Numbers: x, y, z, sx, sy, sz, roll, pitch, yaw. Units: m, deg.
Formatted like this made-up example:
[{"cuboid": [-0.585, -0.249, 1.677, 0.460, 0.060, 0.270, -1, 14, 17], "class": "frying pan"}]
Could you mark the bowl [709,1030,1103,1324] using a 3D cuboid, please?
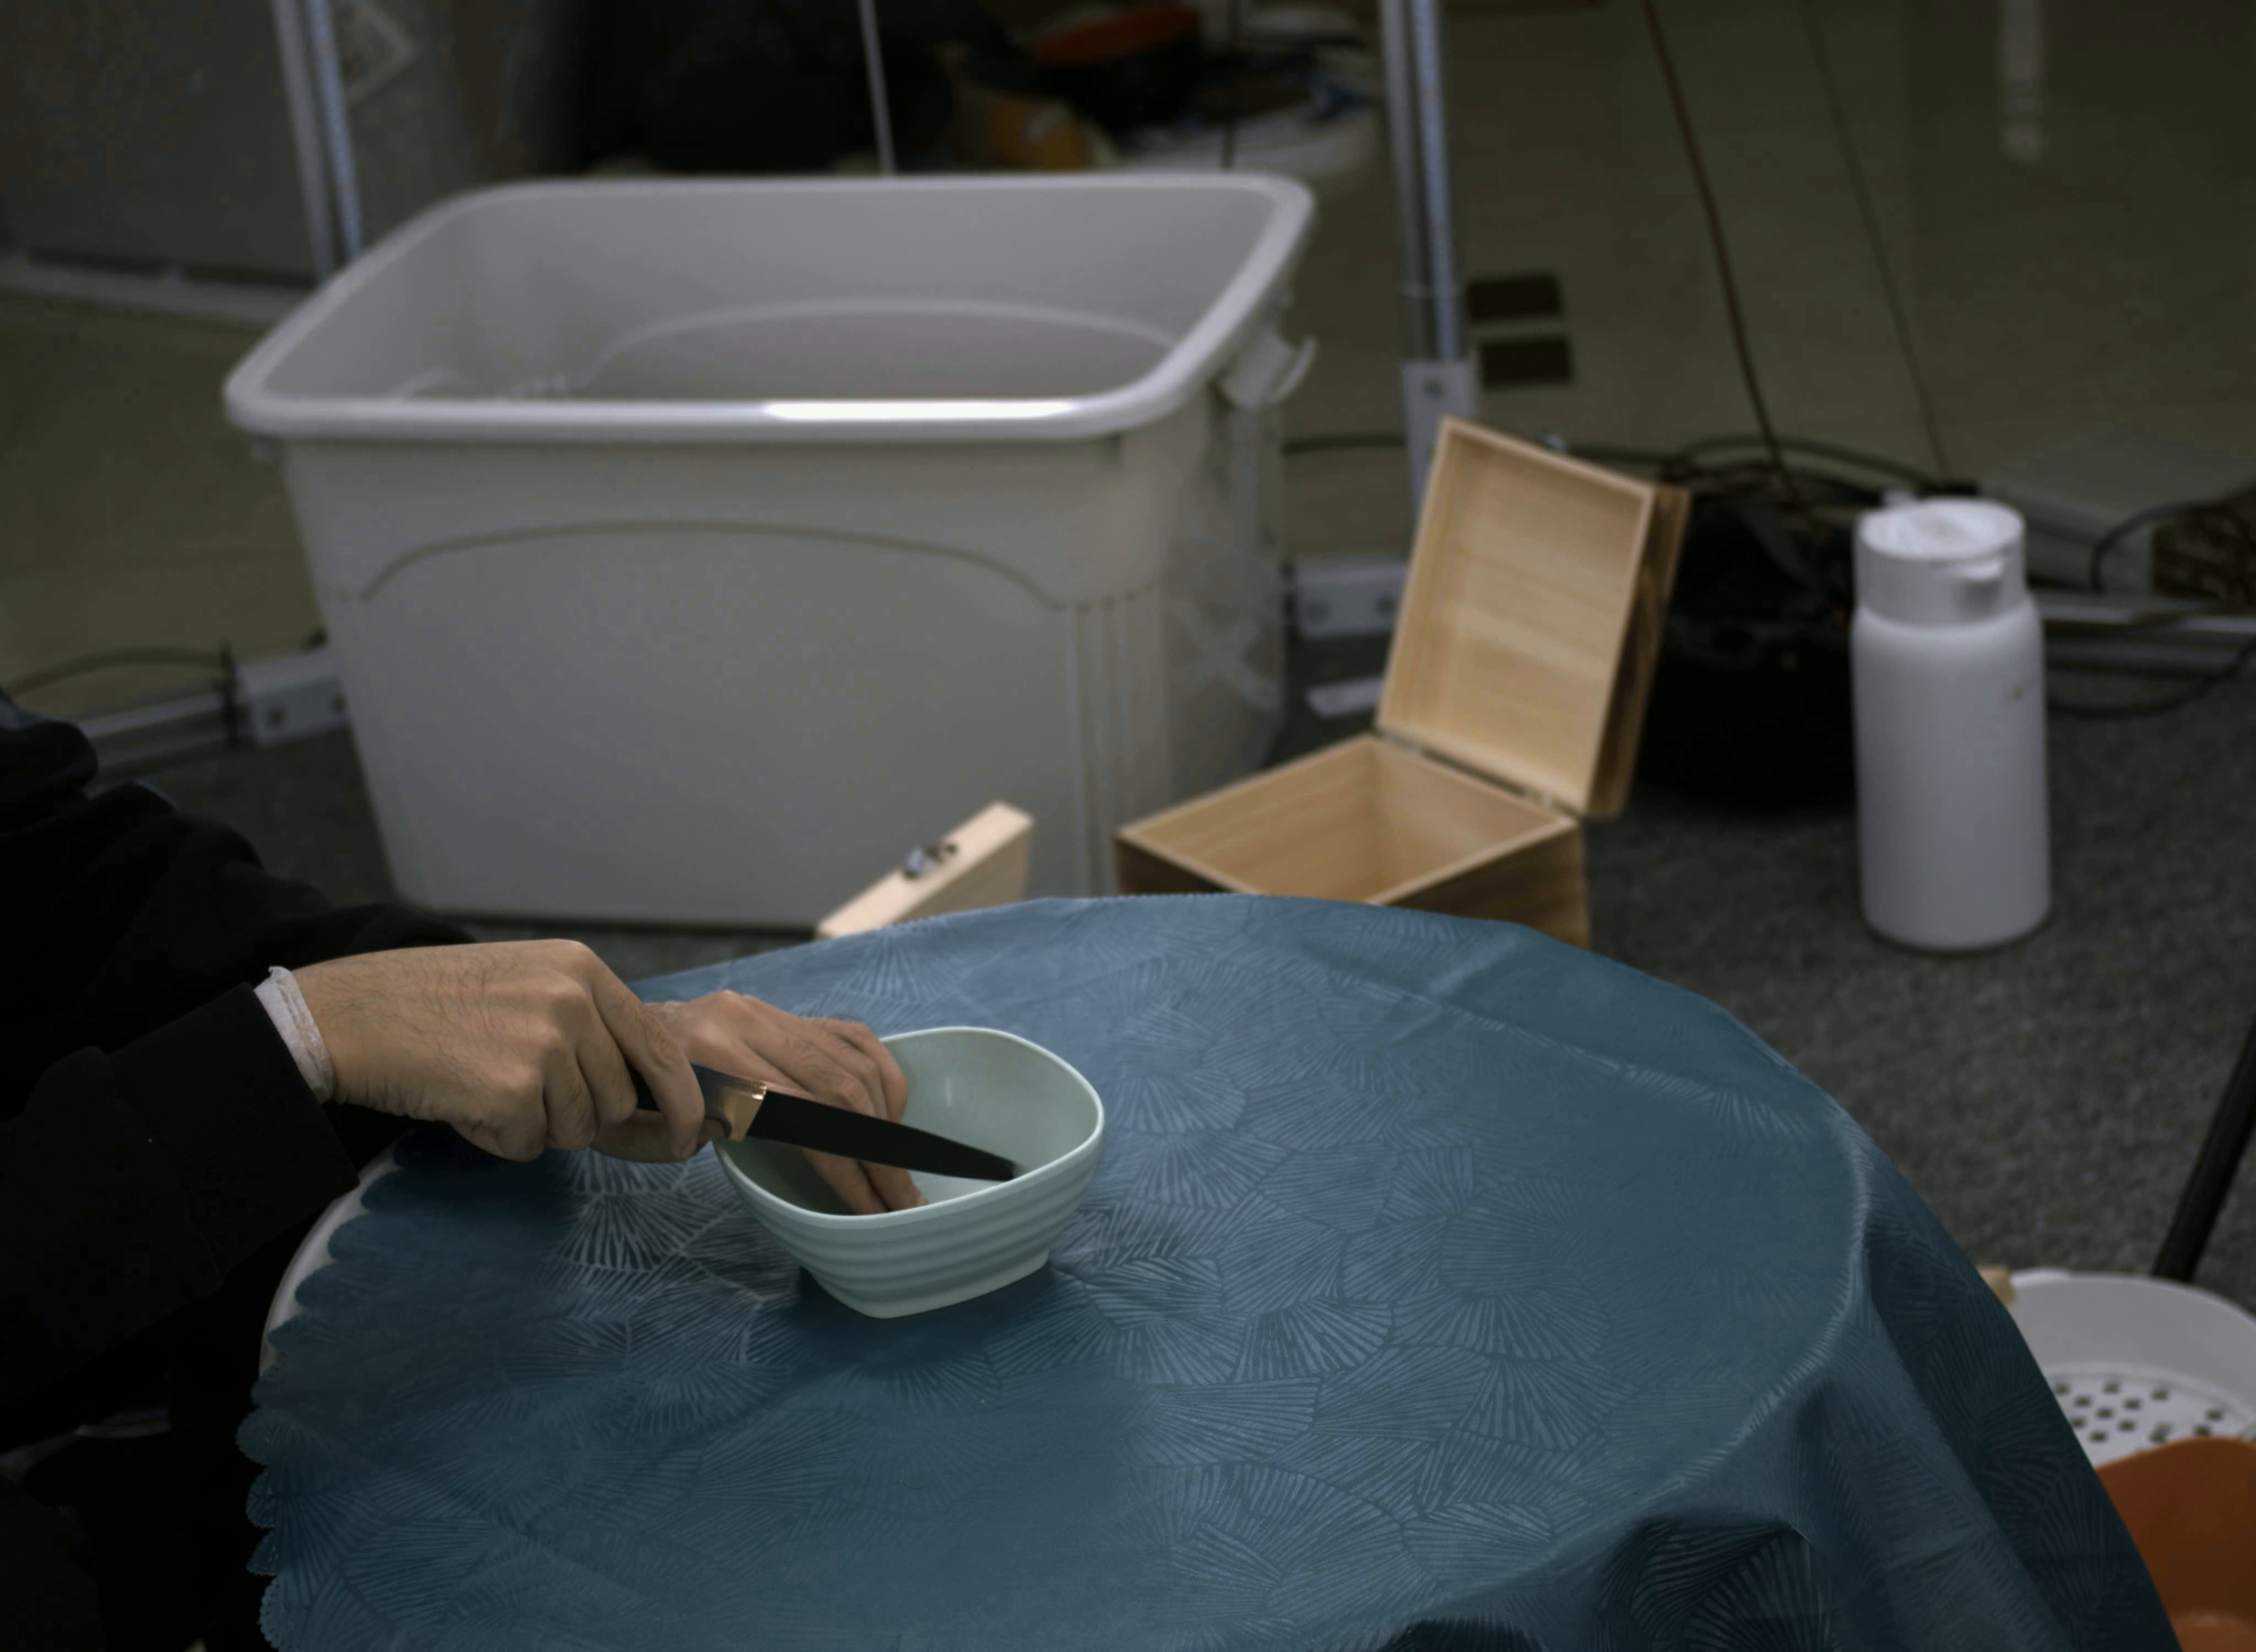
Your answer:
[{"cuboid": [-0.080, 0.136, 2.109, 0.151, 0.059, 0.149, -5, 26, 3], "class": "bowl"}]

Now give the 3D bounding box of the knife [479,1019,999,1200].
[{"cuboid": [-0.136, 0.106, 2.077, 0.226, 0.026, 0.017, 17, 25, -24], "class": "knife"}]
